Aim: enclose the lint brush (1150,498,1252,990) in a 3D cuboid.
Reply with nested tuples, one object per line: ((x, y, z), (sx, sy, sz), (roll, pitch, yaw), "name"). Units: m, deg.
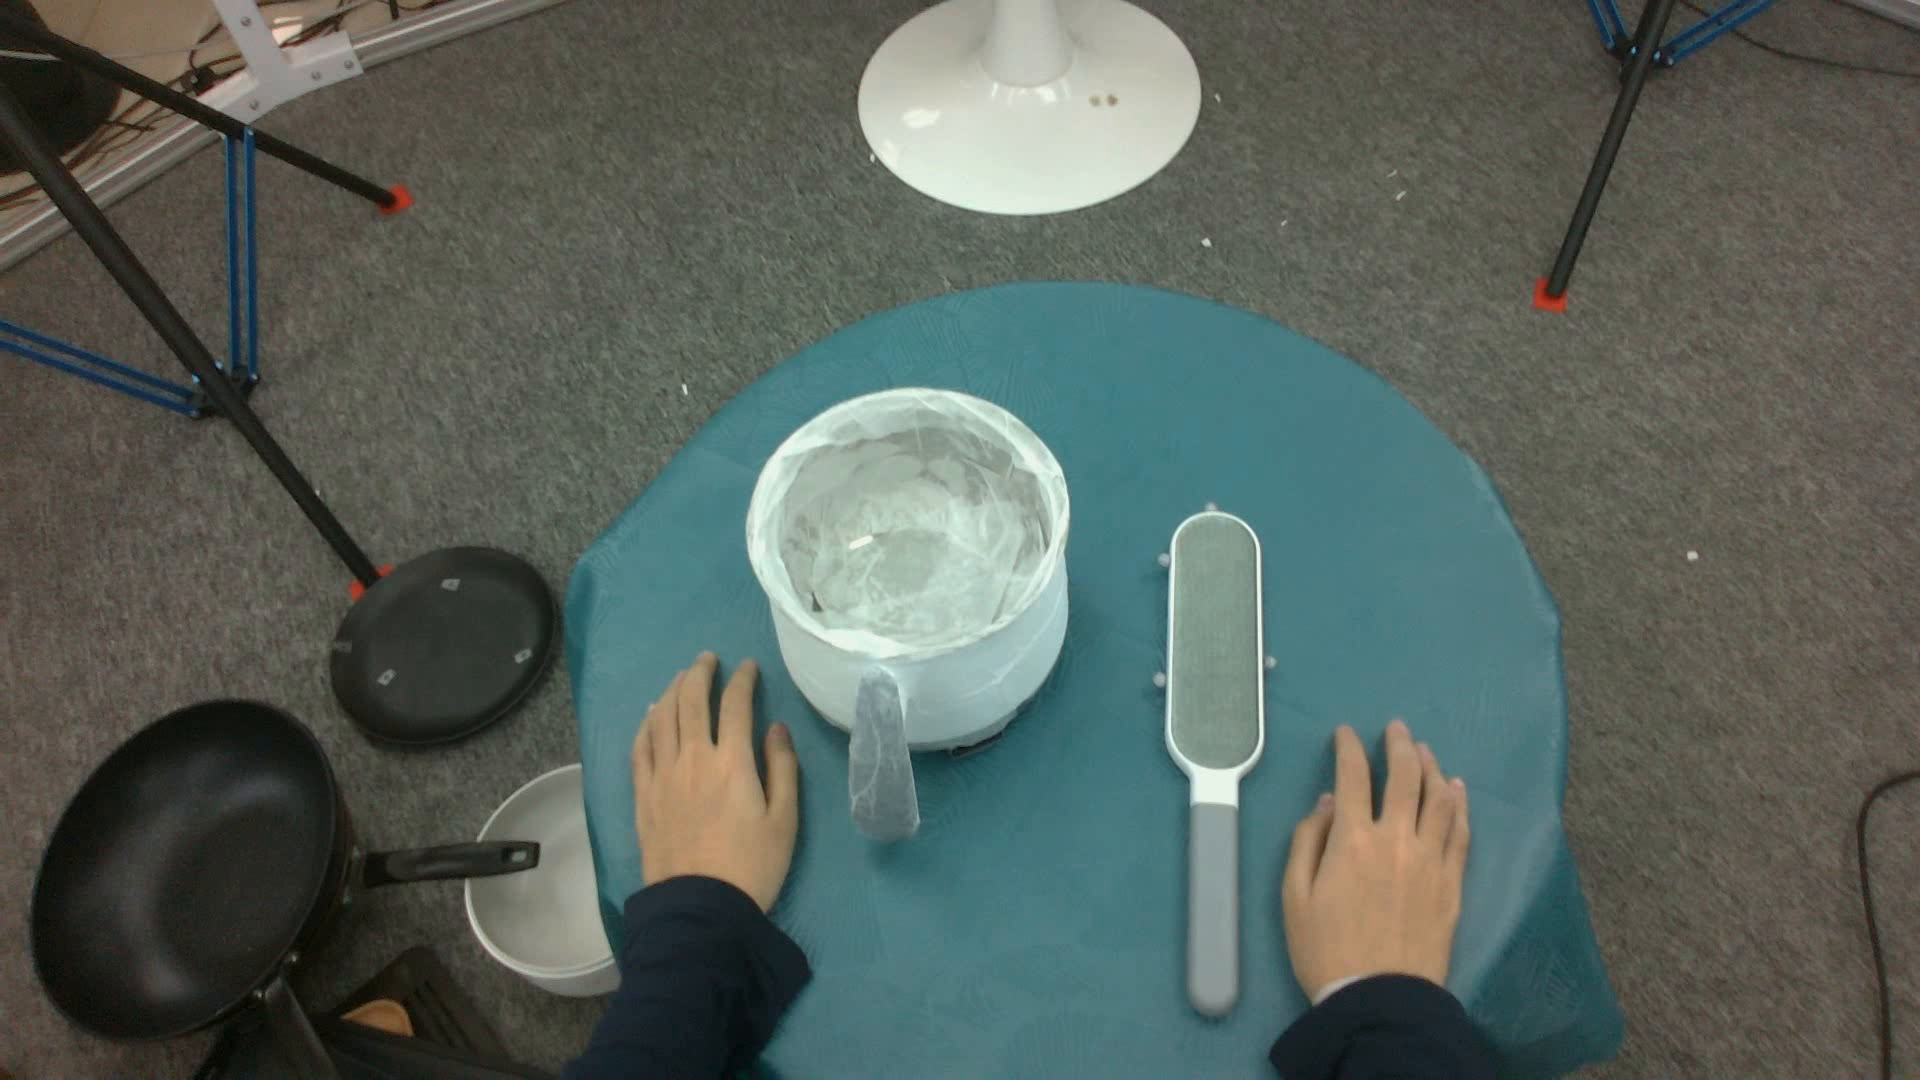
((0.139, 0.103, 0.796), (0.060, 0.021, 0.310), (7, 57, 0), "lint brush")

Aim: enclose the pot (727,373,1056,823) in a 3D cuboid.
((-0.036, 0.035, 0.783), (0.178, 0.136, 0.235), (3, 56, 8), "pot")
